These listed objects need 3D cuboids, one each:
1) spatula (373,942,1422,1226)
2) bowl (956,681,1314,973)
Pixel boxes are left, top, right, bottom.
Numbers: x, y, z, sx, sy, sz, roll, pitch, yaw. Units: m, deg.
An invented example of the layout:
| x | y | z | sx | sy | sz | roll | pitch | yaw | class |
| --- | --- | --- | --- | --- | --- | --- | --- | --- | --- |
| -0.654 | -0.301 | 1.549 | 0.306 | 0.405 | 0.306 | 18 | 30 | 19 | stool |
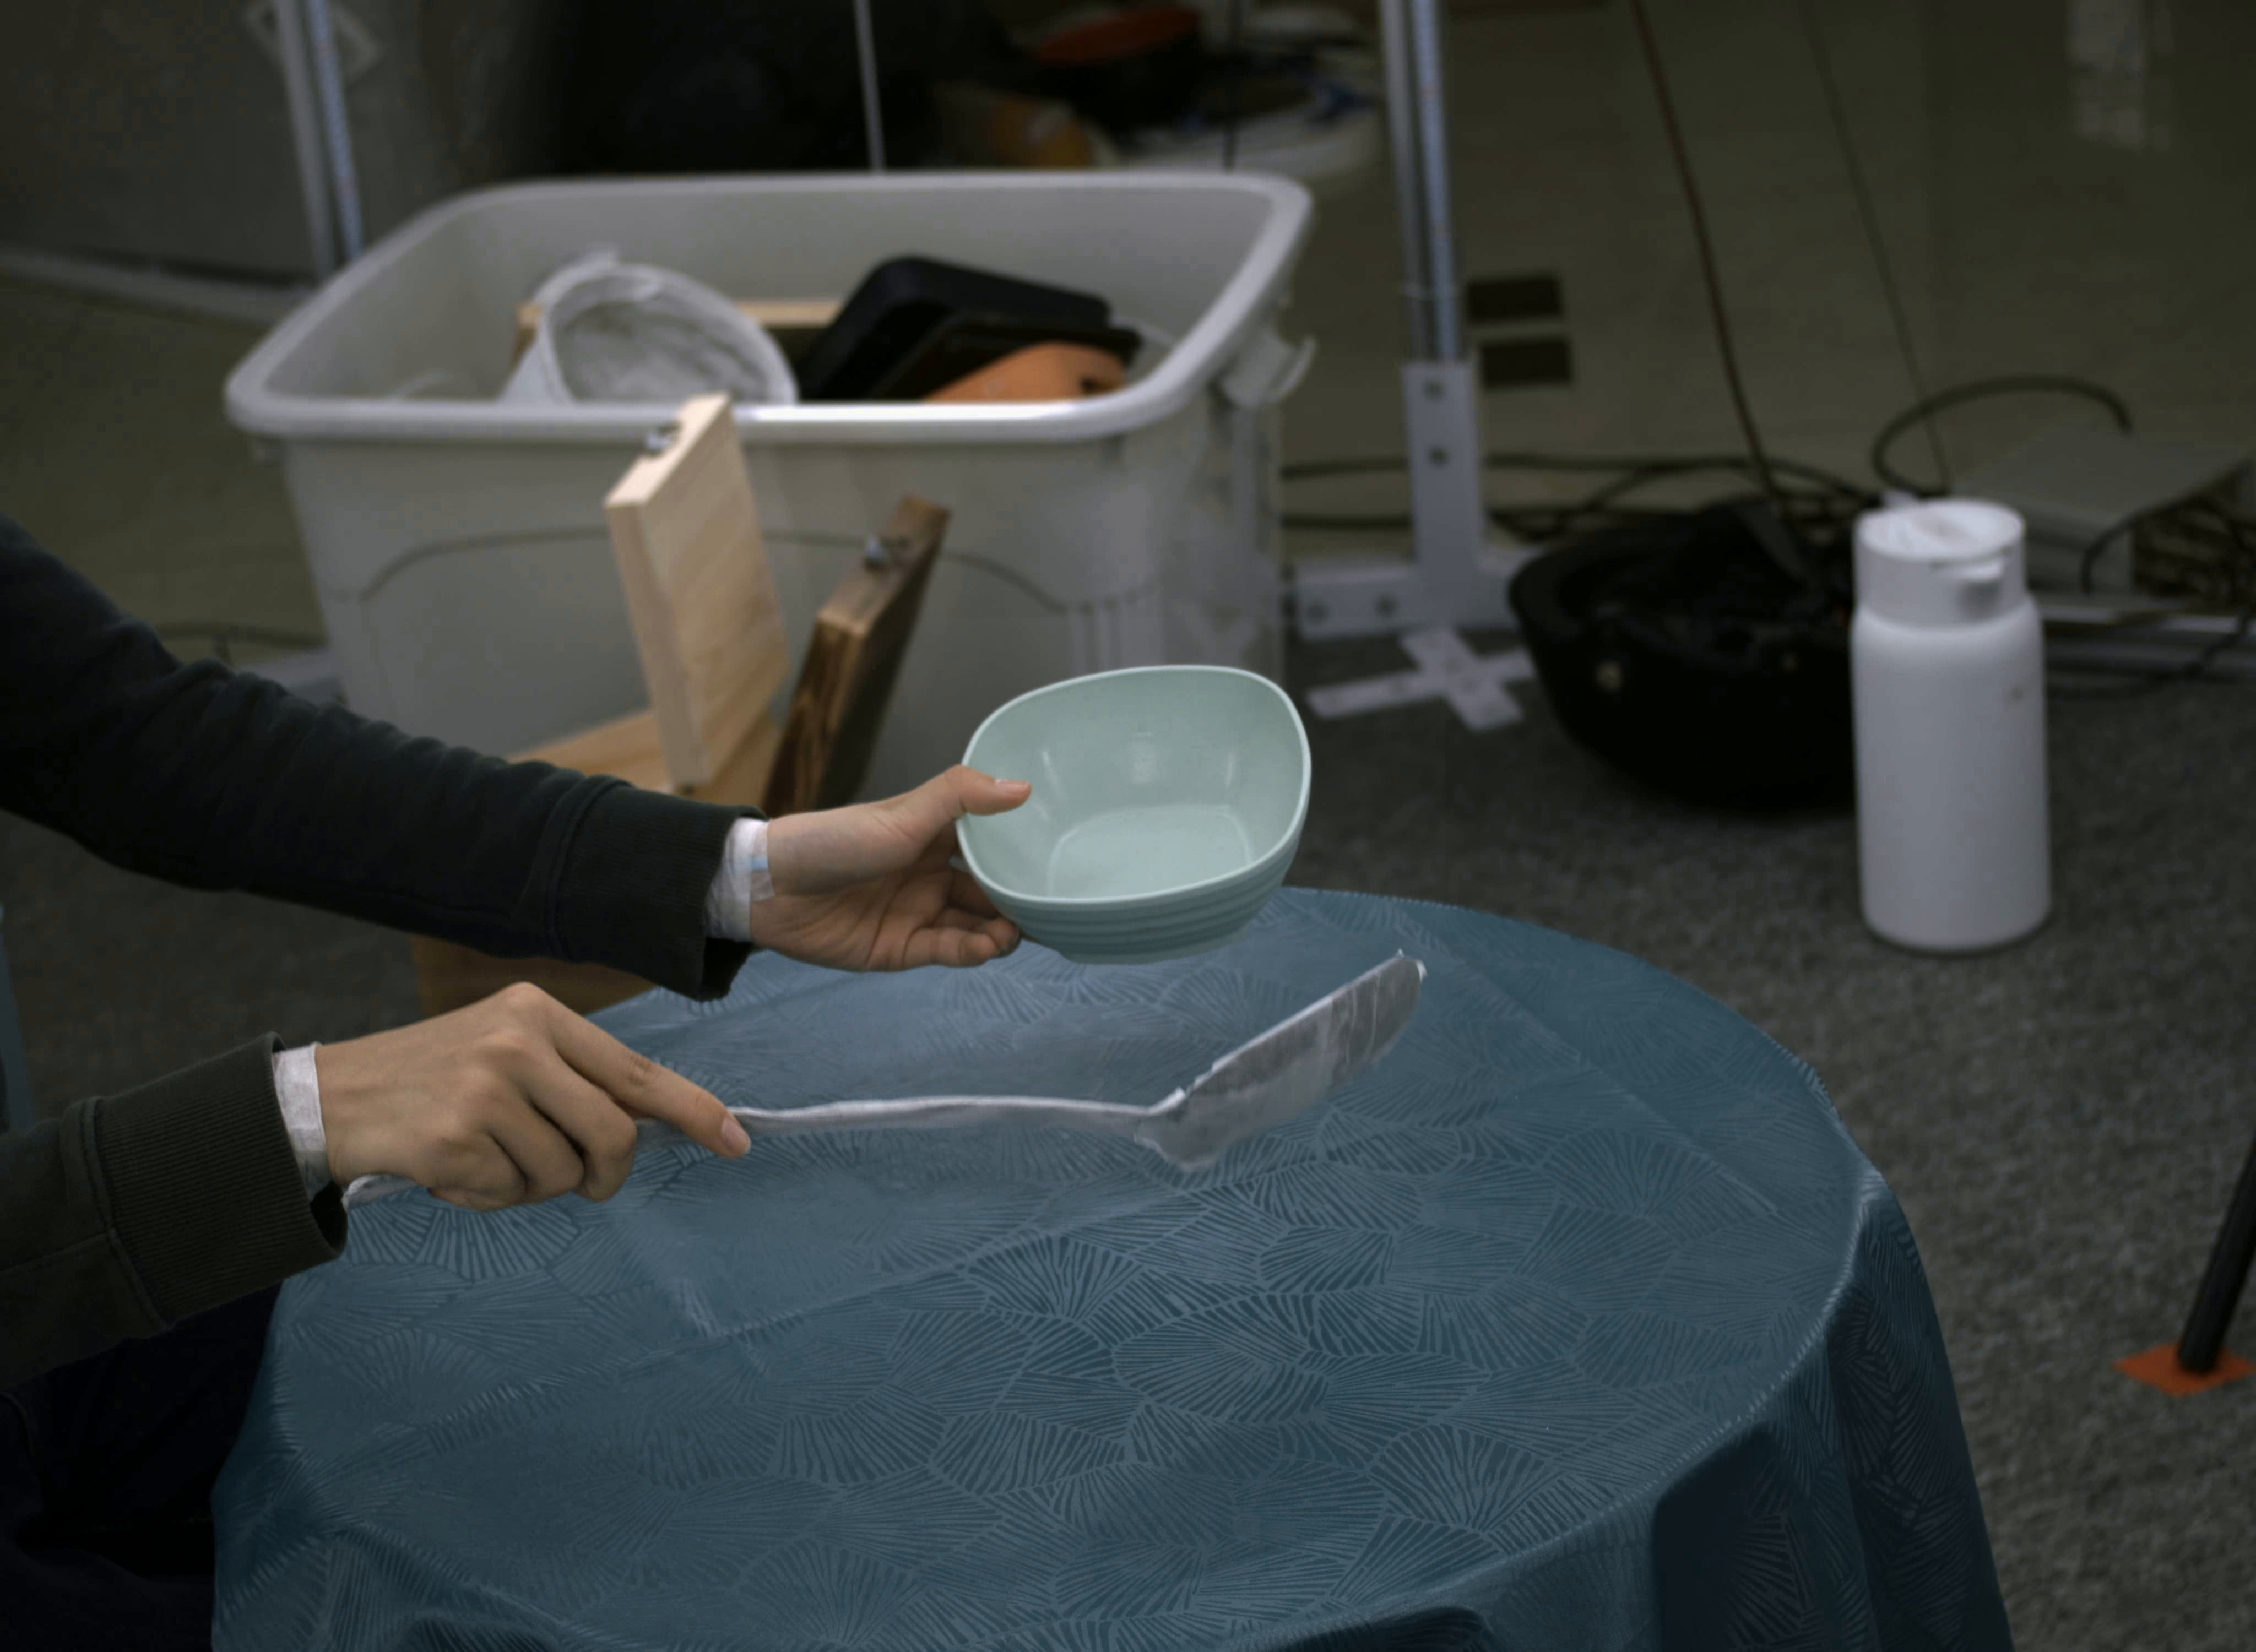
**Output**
| x | y | z | sx | sy | sz | roll | pitch | yaw | class |
| --- | --- | --- | --- | --- | --- | --- | --- | --- | --- |
| -0.074 | 0.091 | 1.900 | 0.364 | 0.100 | 0.044 | -5 | 65 | -14 | spatula |
| 0.006 | 0.008 | 2.192 | 0.151 | 0.060 | 0.149 | -6 | 38 | 5 | bowl |
